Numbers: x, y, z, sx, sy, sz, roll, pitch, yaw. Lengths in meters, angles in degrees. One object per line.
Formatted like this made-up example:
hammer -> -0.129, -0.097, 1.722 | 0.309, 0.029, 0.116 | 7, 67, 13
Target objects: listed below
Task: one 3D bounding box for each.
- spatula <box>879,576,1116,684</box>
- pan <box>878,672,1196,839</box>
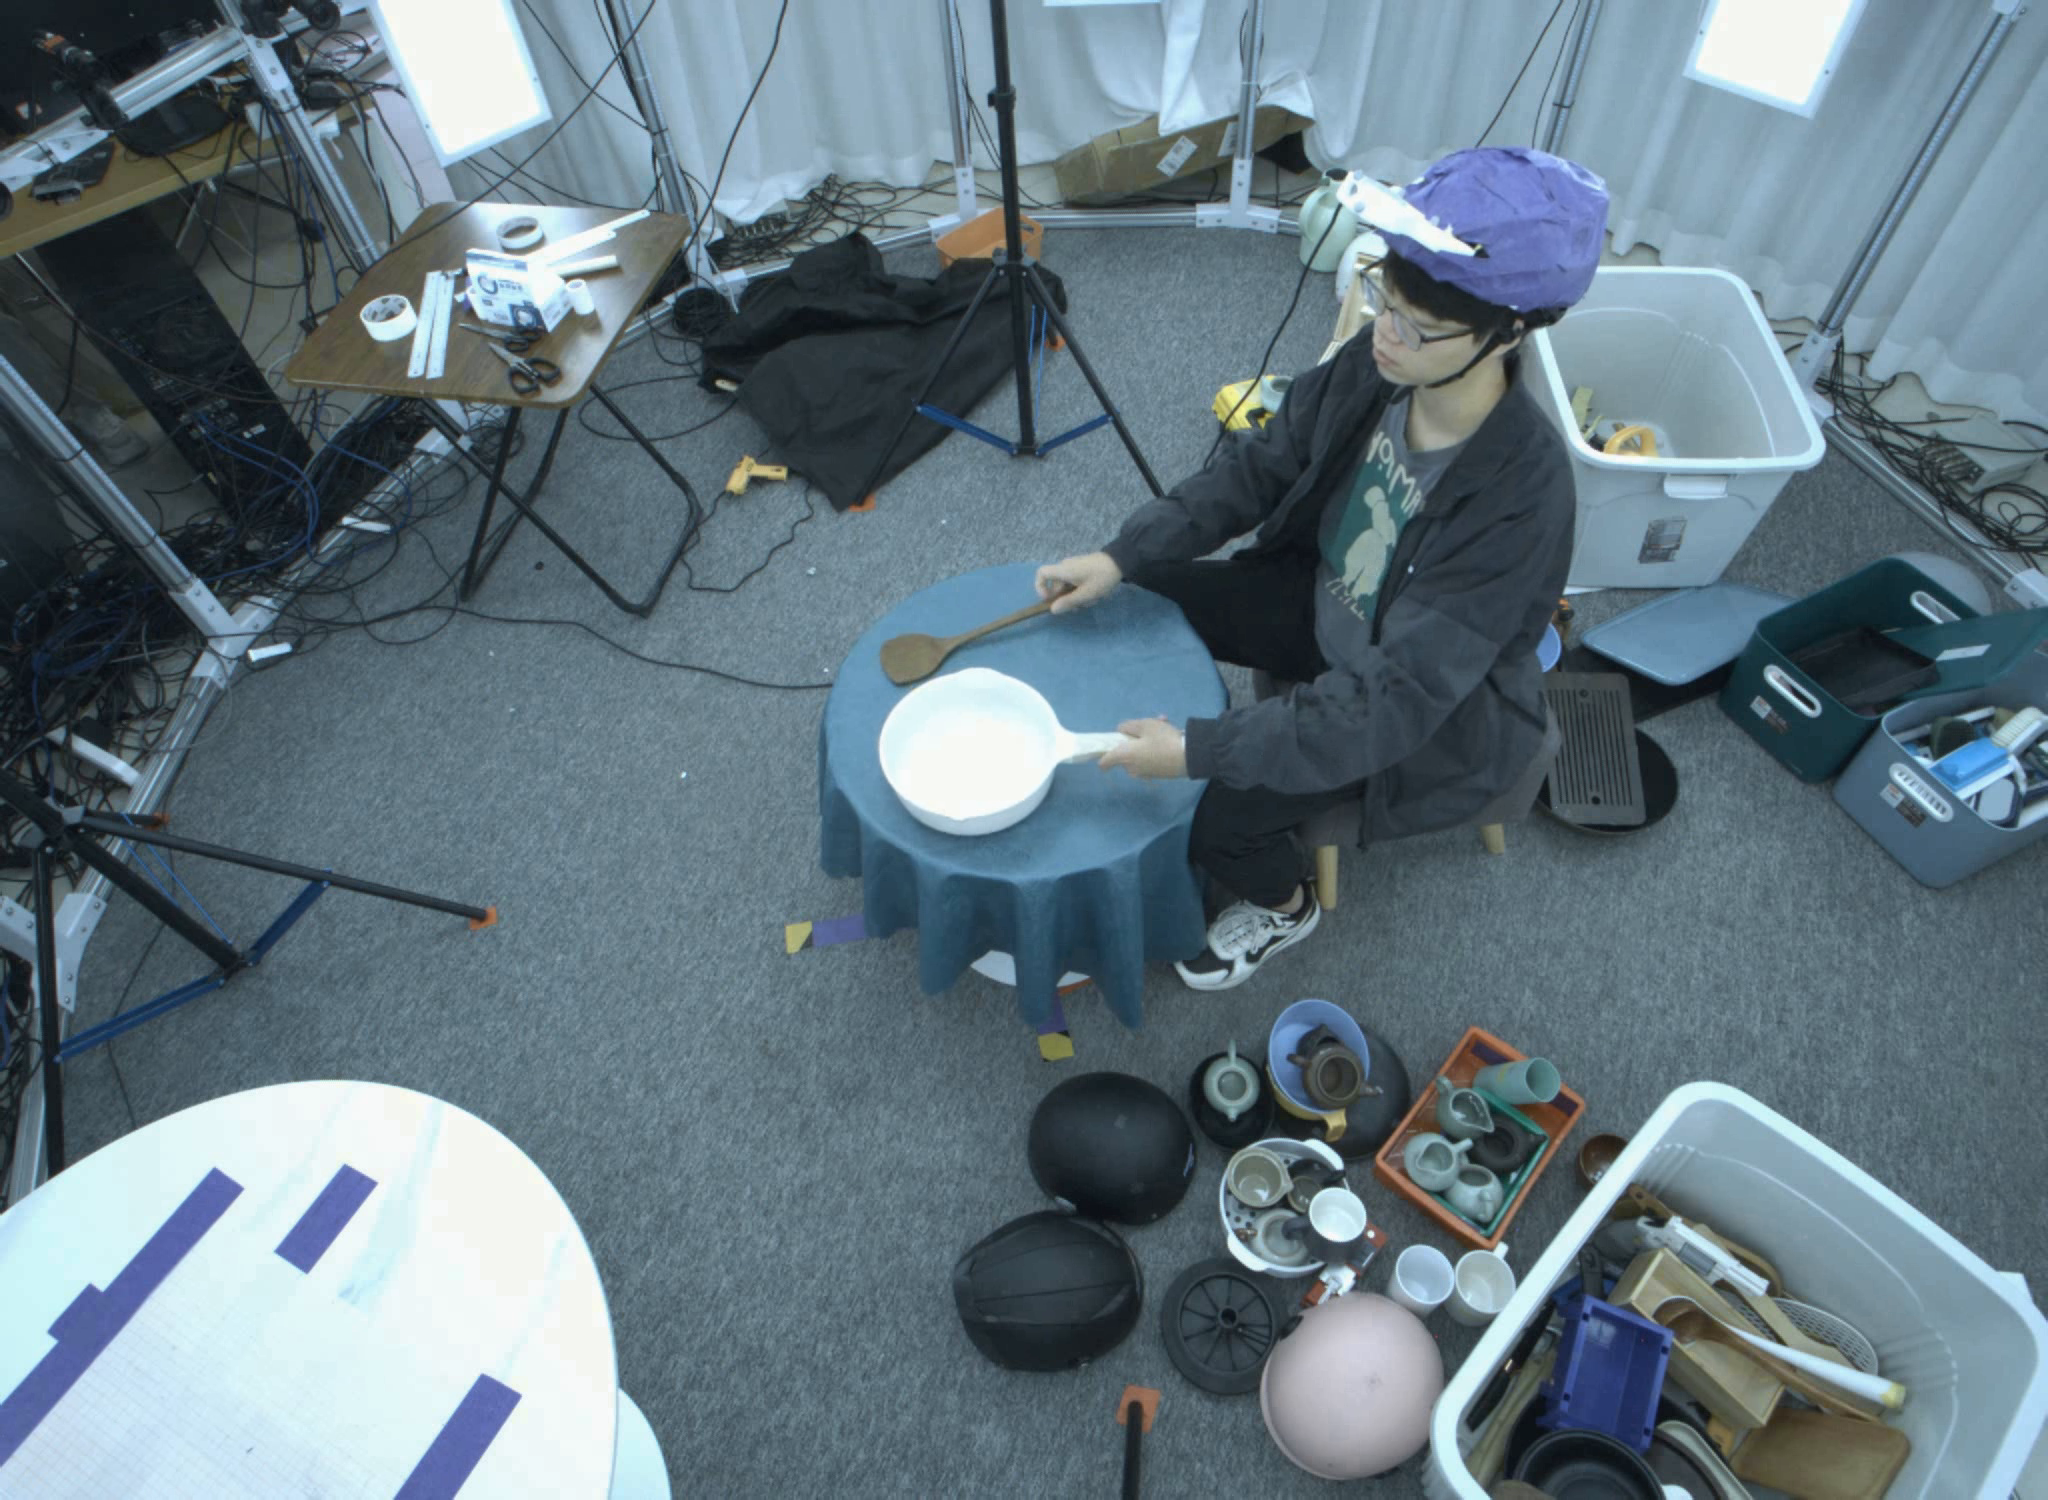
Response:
spatula -> -0.039, -0.196, 1.894 | 0.387, 0.016, 0.094 | -21, 56, -5
pan -> 0.018, 0.013, 1.706 | 0.434, 0.103, 0.261 | 2, 53, 4
